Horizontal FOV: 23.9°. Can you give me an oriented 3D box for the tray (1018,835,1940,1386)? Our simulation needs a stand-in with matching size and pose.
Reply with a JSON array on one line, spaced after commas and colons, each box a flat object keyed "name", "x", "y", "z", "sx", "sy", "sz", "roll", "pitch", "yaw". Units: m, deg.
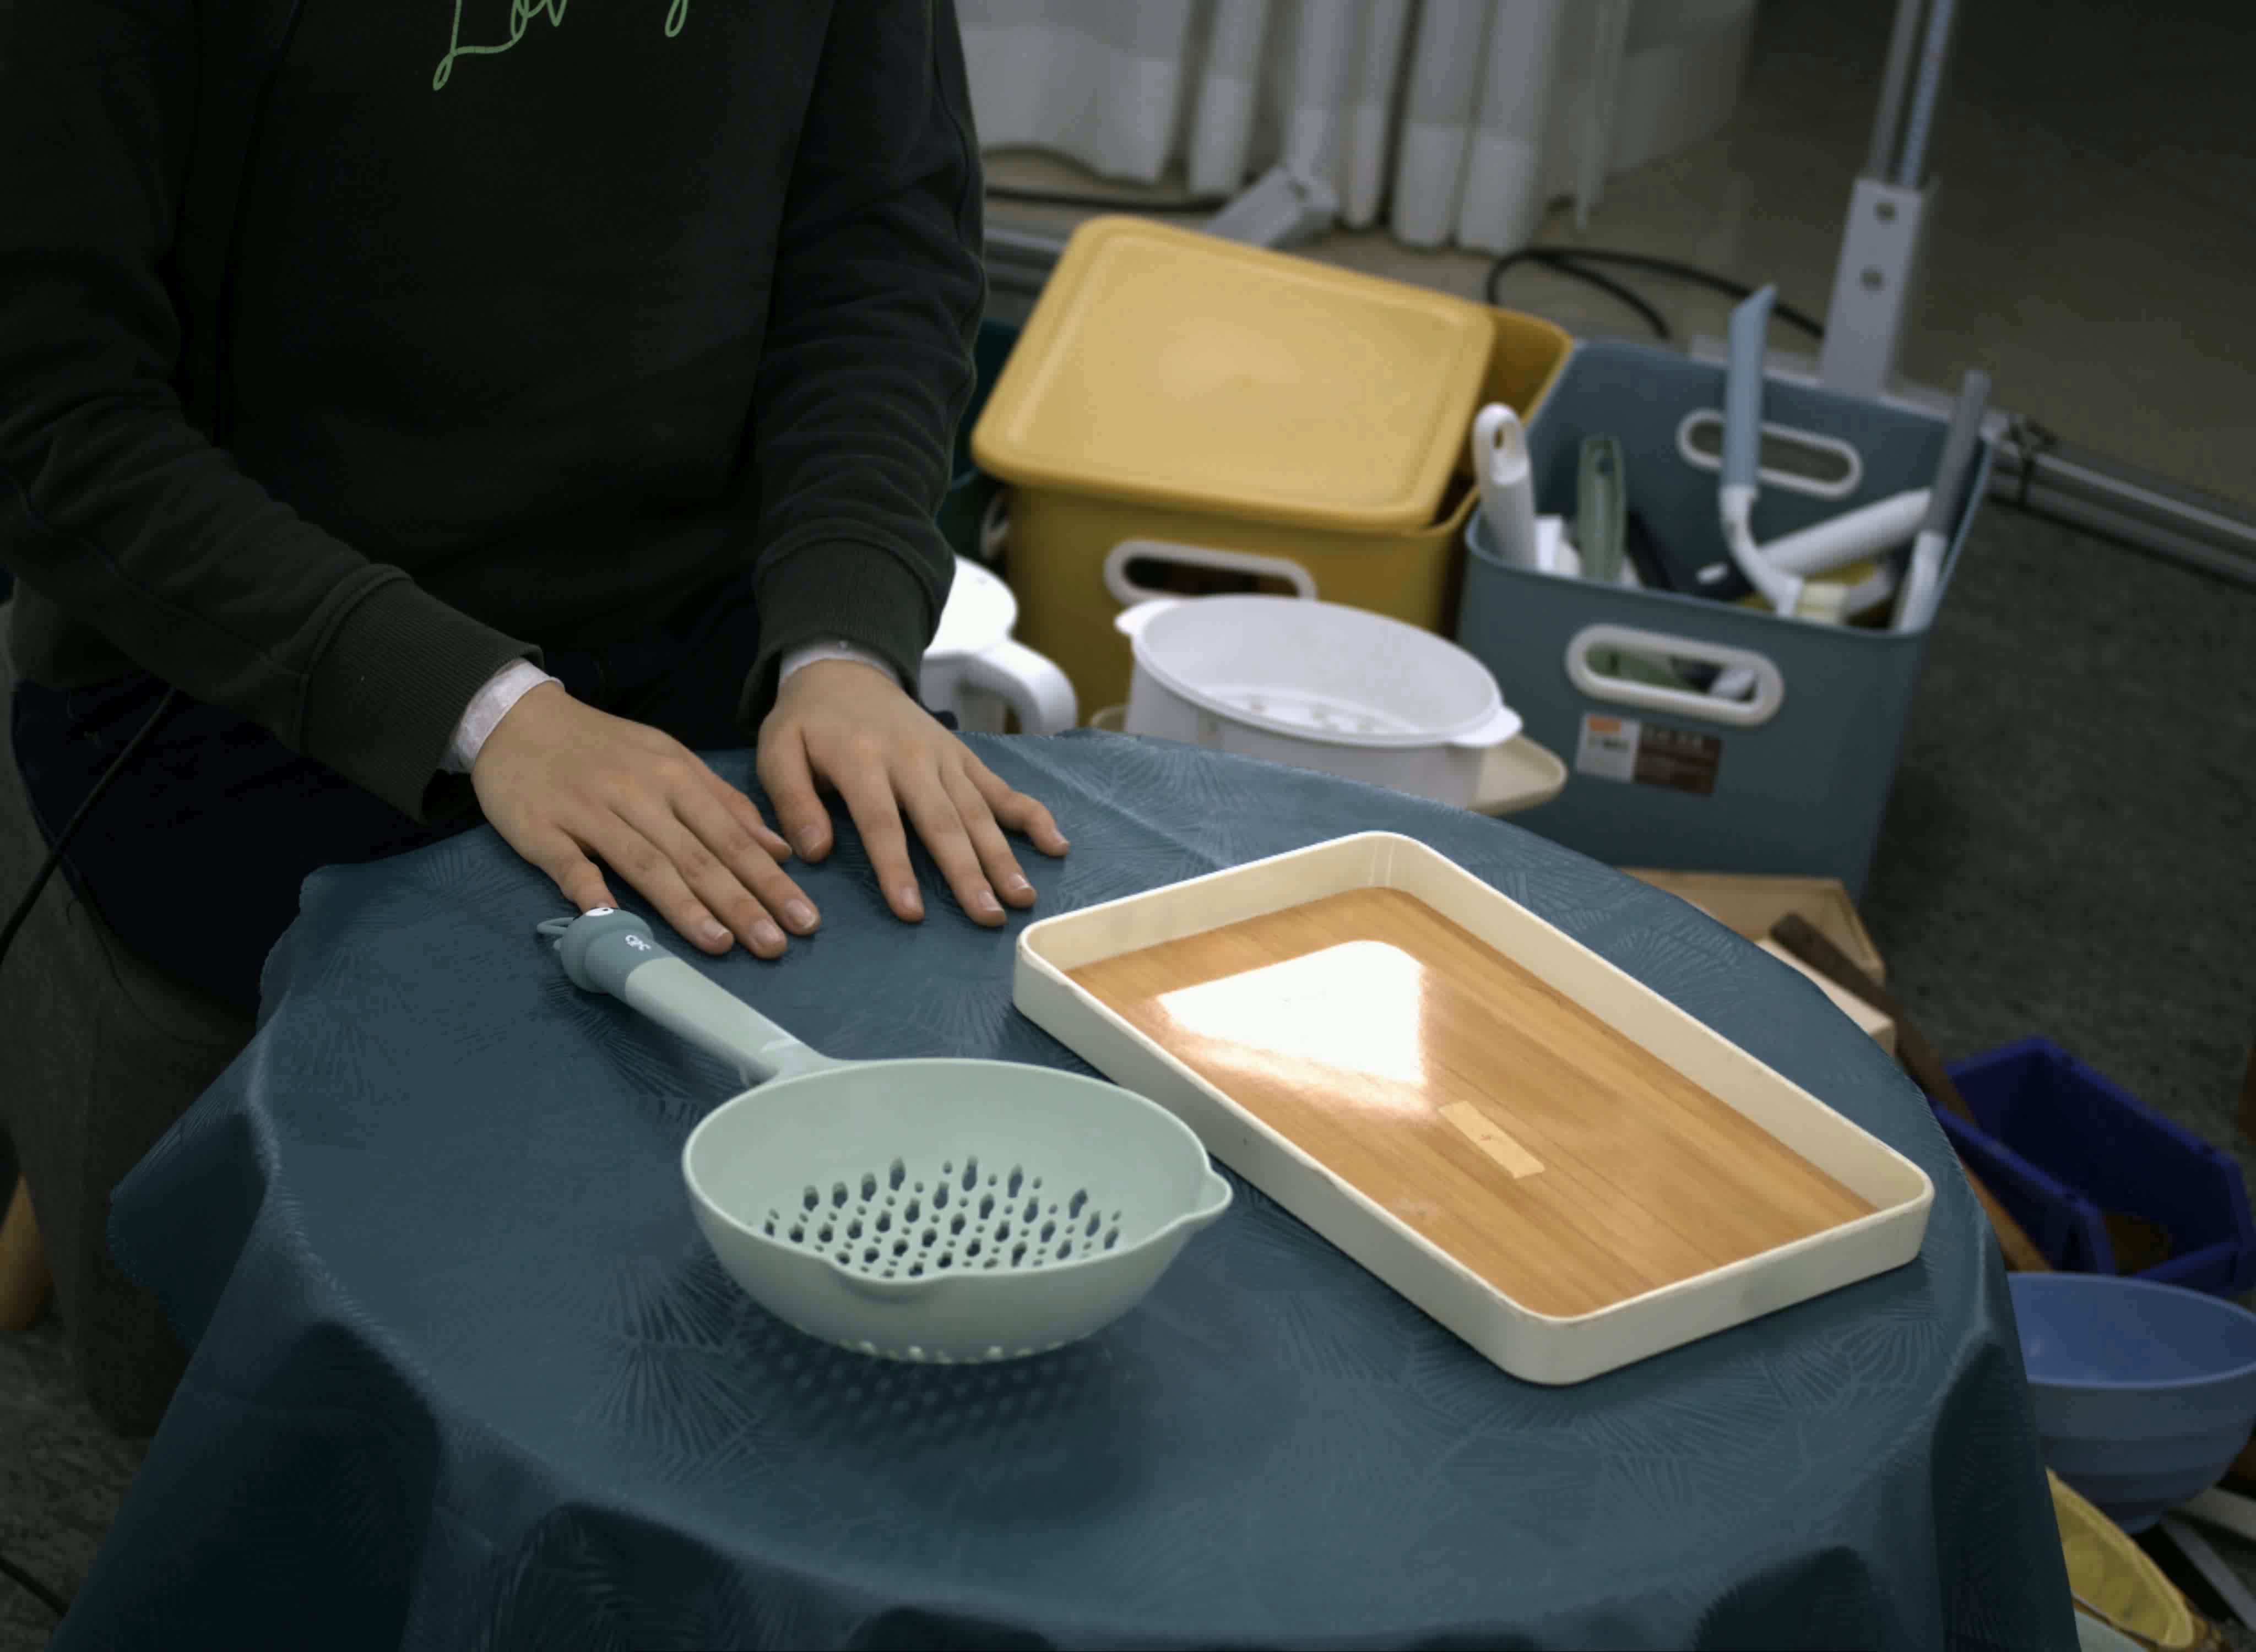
[{"name": "tray", "x": 0.118, "y": 0.093, "z": 1.859, "sx": 0.190, "sy": 0.027, "sz": 0.303, "roll": -14, "pitch": 33, "yaw": -35}]

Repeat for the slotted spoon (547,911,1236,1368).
[{"name": "slotted spoon", "x": -0.109, "y": 0.088, "z": 1.774, "sx": 0.168, "sy": 0.075, "sz": 0.362, "roll": -10, "pitch": 31, "yaw": -30}]
